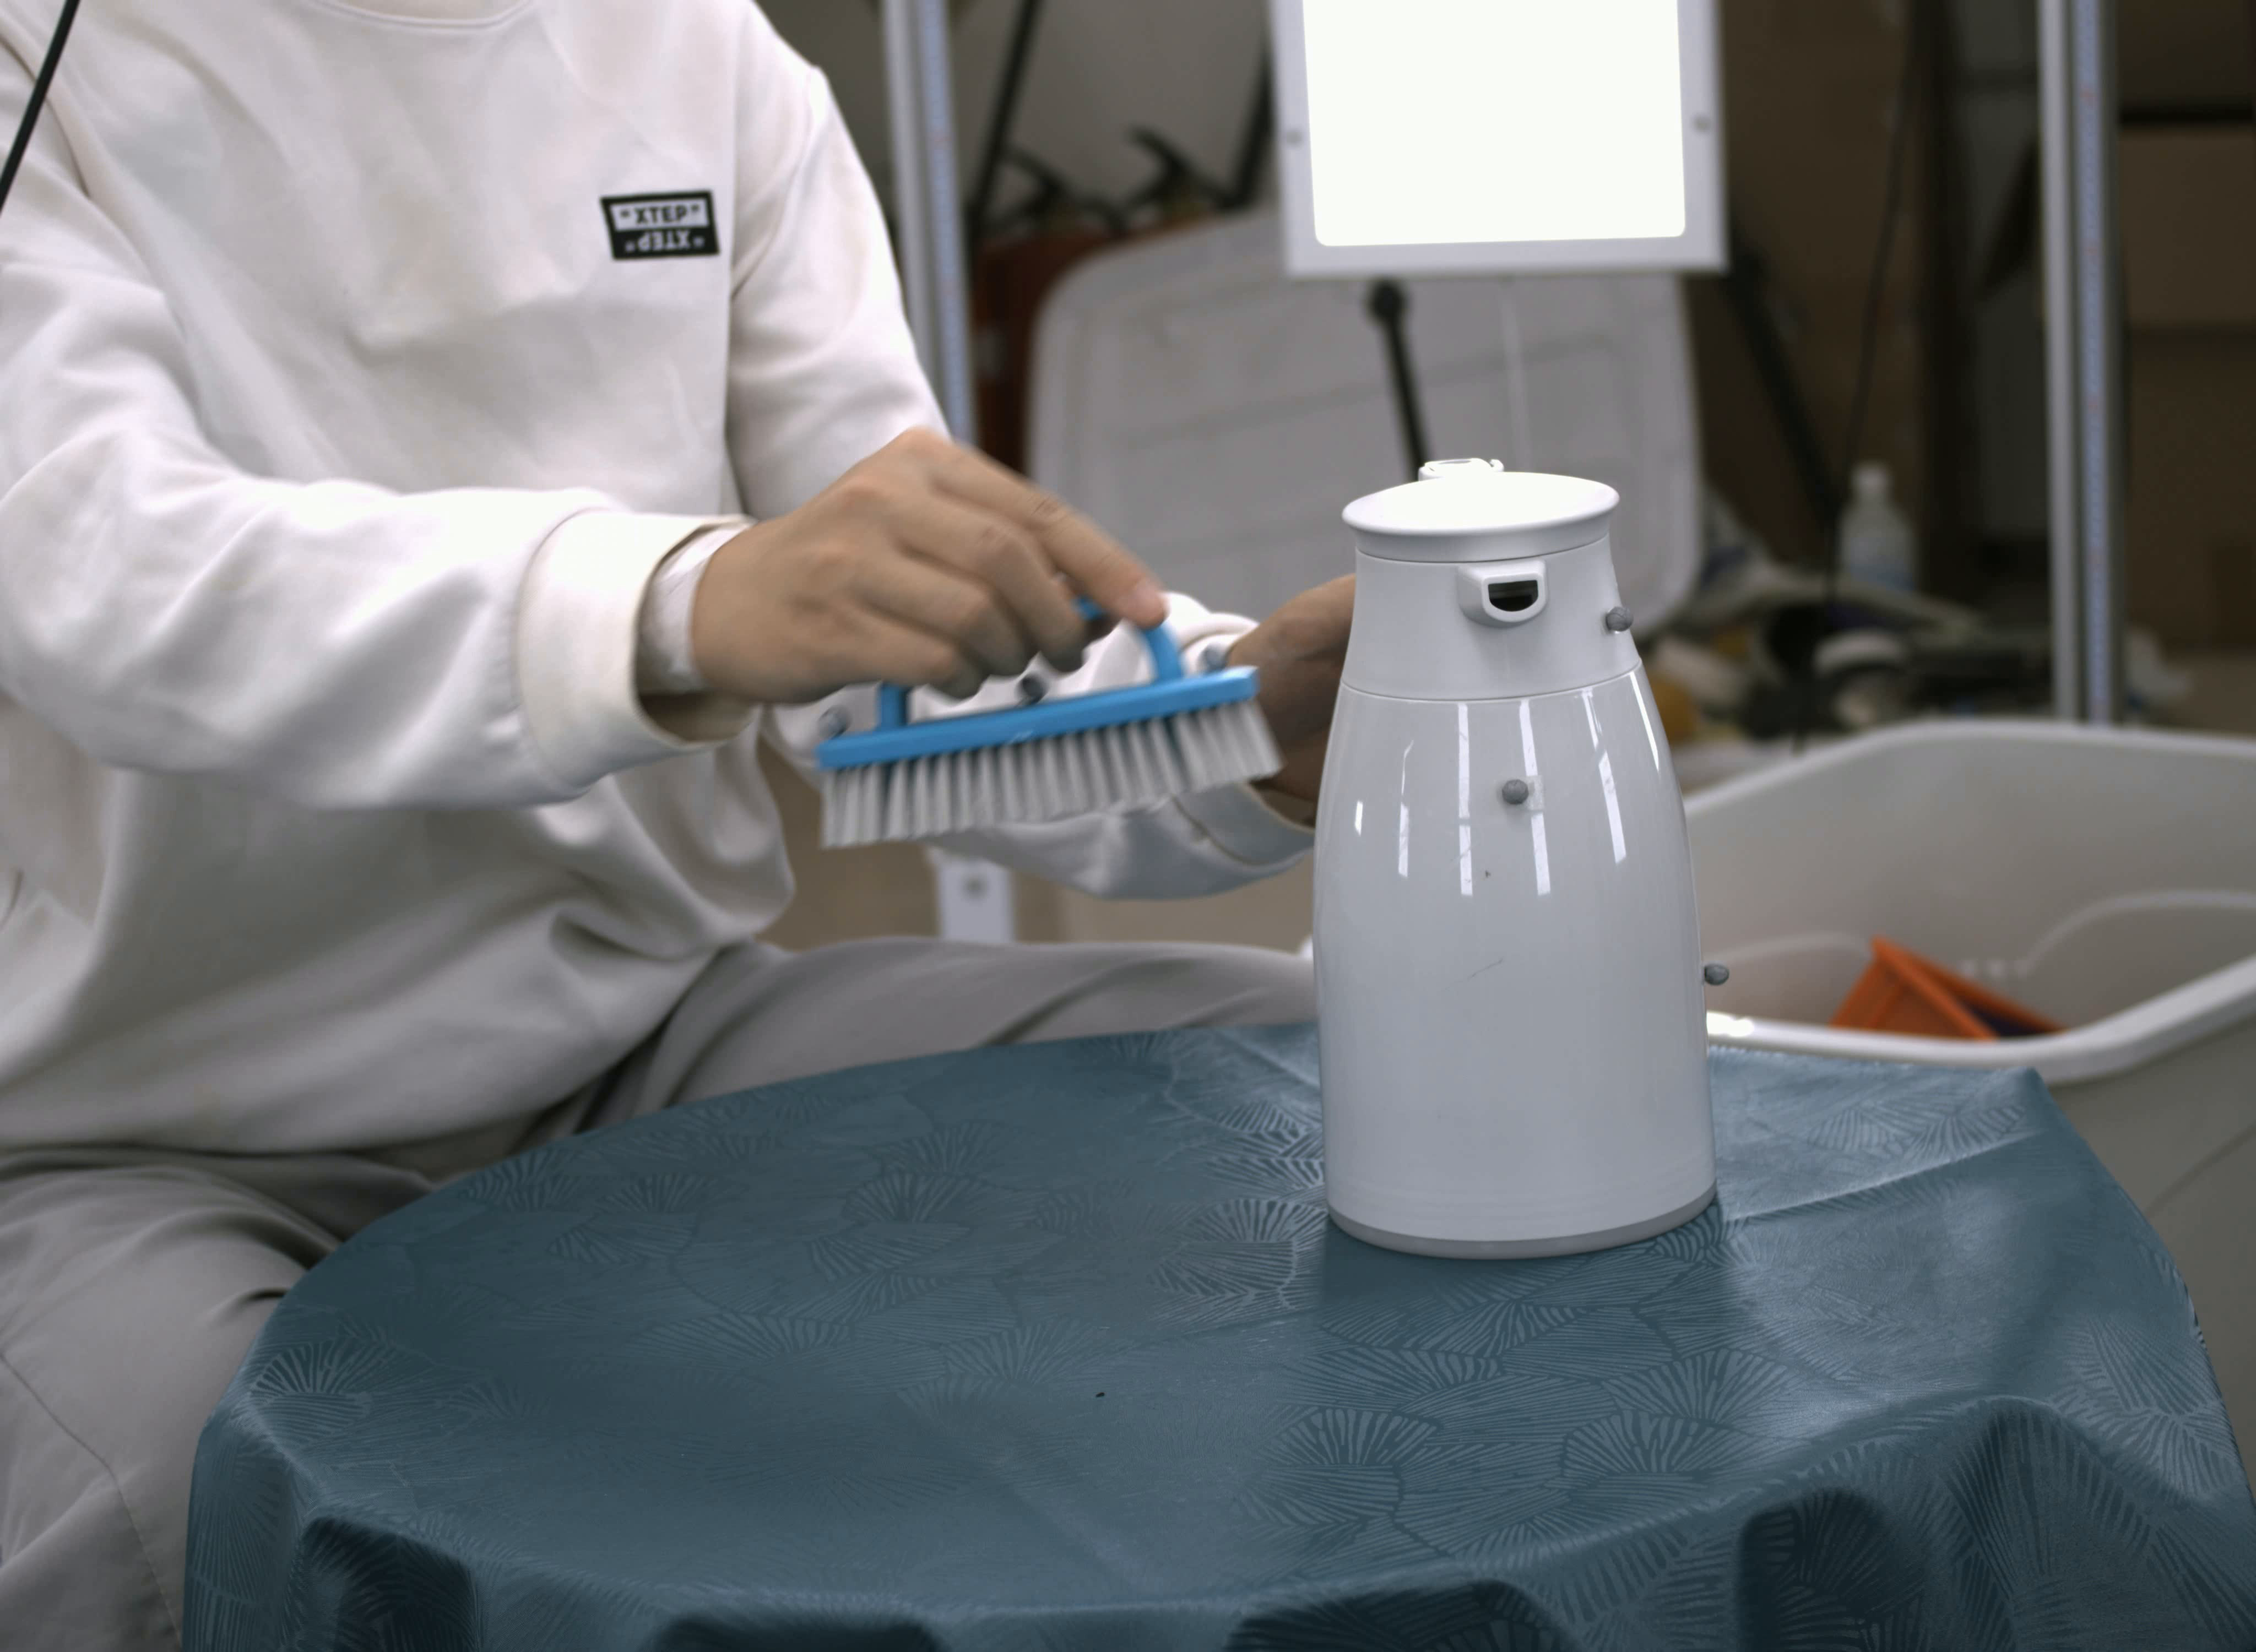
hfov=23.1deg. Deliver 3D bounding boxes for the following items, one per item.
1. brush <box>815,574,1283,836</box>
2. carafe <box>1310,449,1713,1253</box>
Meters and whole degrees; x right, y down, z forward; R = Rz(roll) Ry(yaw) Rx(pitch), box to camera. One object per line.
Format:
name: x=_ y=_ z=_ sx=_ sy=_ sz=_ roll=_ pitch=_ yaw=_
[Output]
brush: x=-0.028 y=-0.041 z=1.669 sx=0.143 sy=0.064 sz=0.083 roll=-10 pitch=7 yaw=12
carafe: x=0.120 y=0.000 z=1.842 sx=0.132 sy=0.249 sz=0.168 roll=-6 pitch=13 yaw=-4
